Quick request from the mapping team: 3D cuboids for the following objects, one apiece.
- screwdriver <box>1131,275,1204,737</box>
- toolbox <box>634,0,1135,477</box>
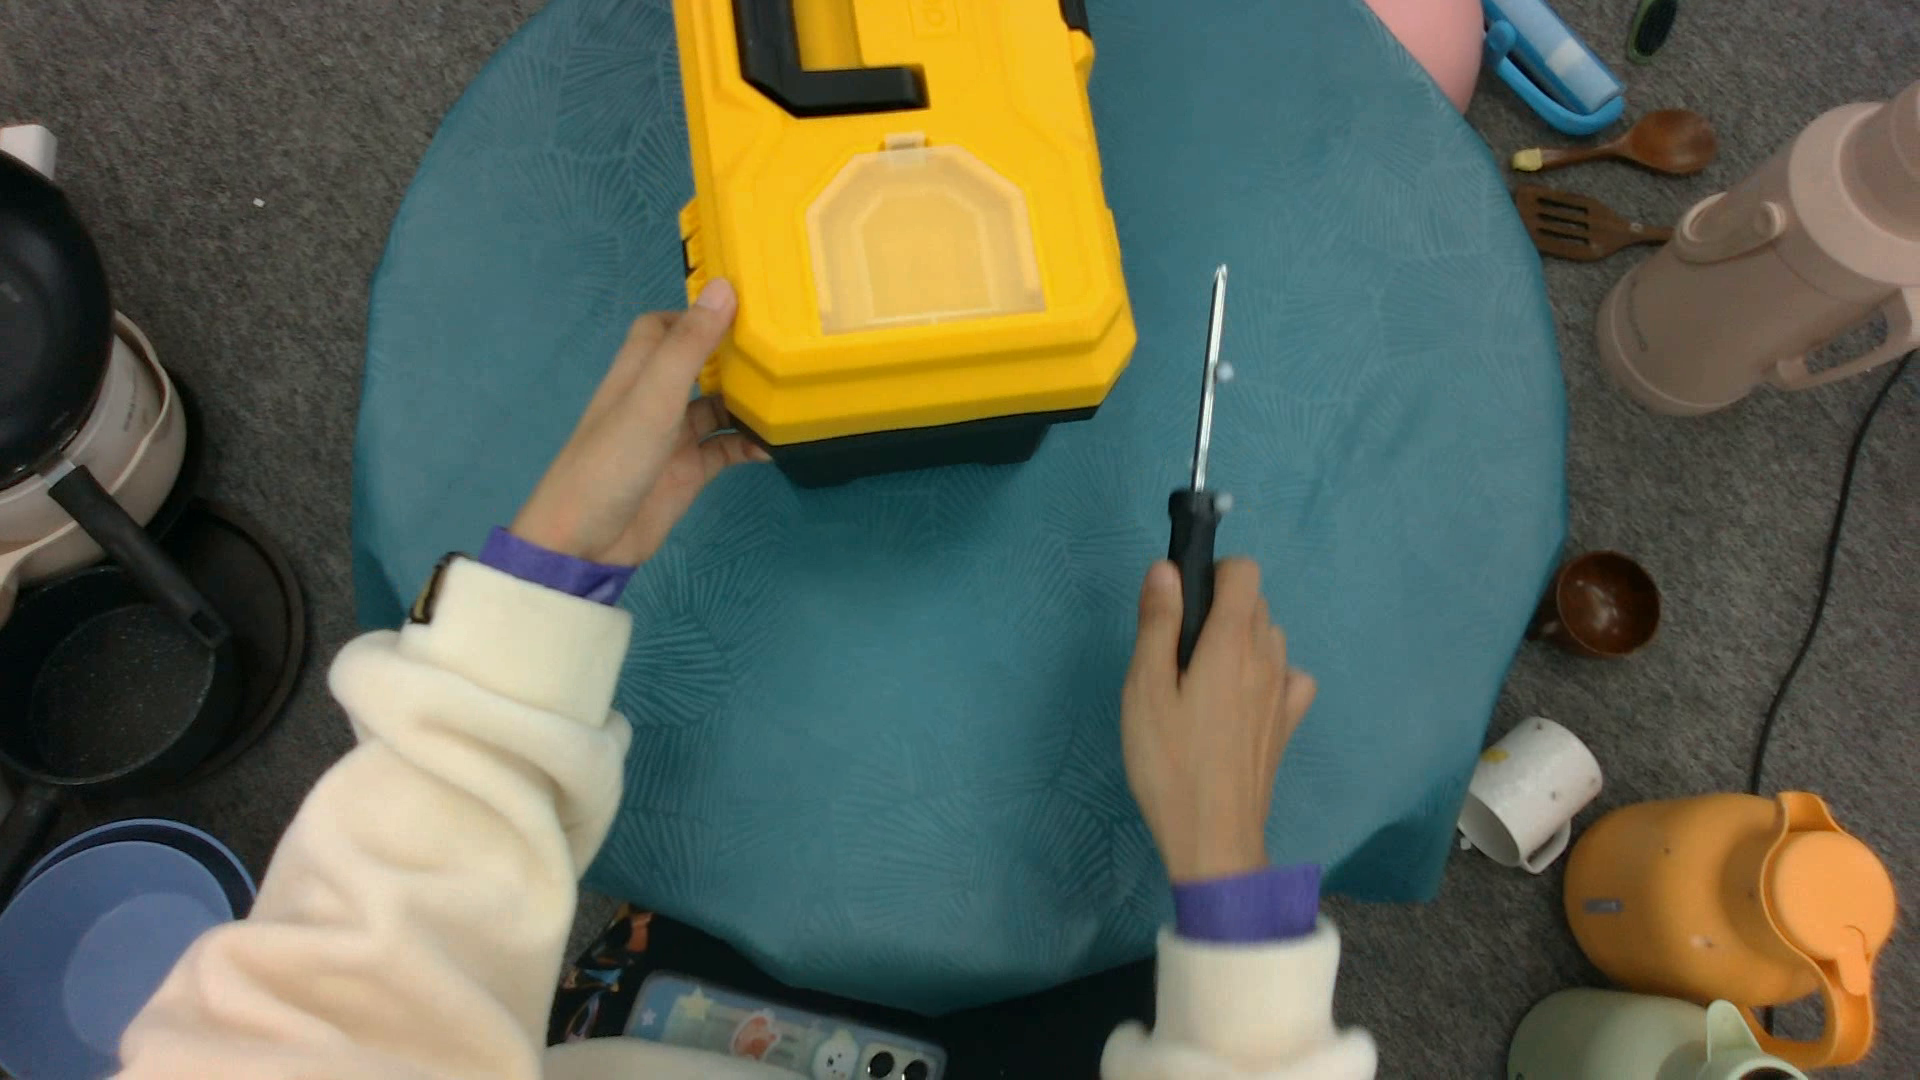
[{"bbox_3d":[0.096,-0.015,0.581,0.031,0.031,0.196,8,88,-3],"label":"screwdriver"},{"bbox_3d":[-0.049,-0.210,0.624,0.181,0.172,0.352,-9,76,-8],"label":"toolbox"}]
